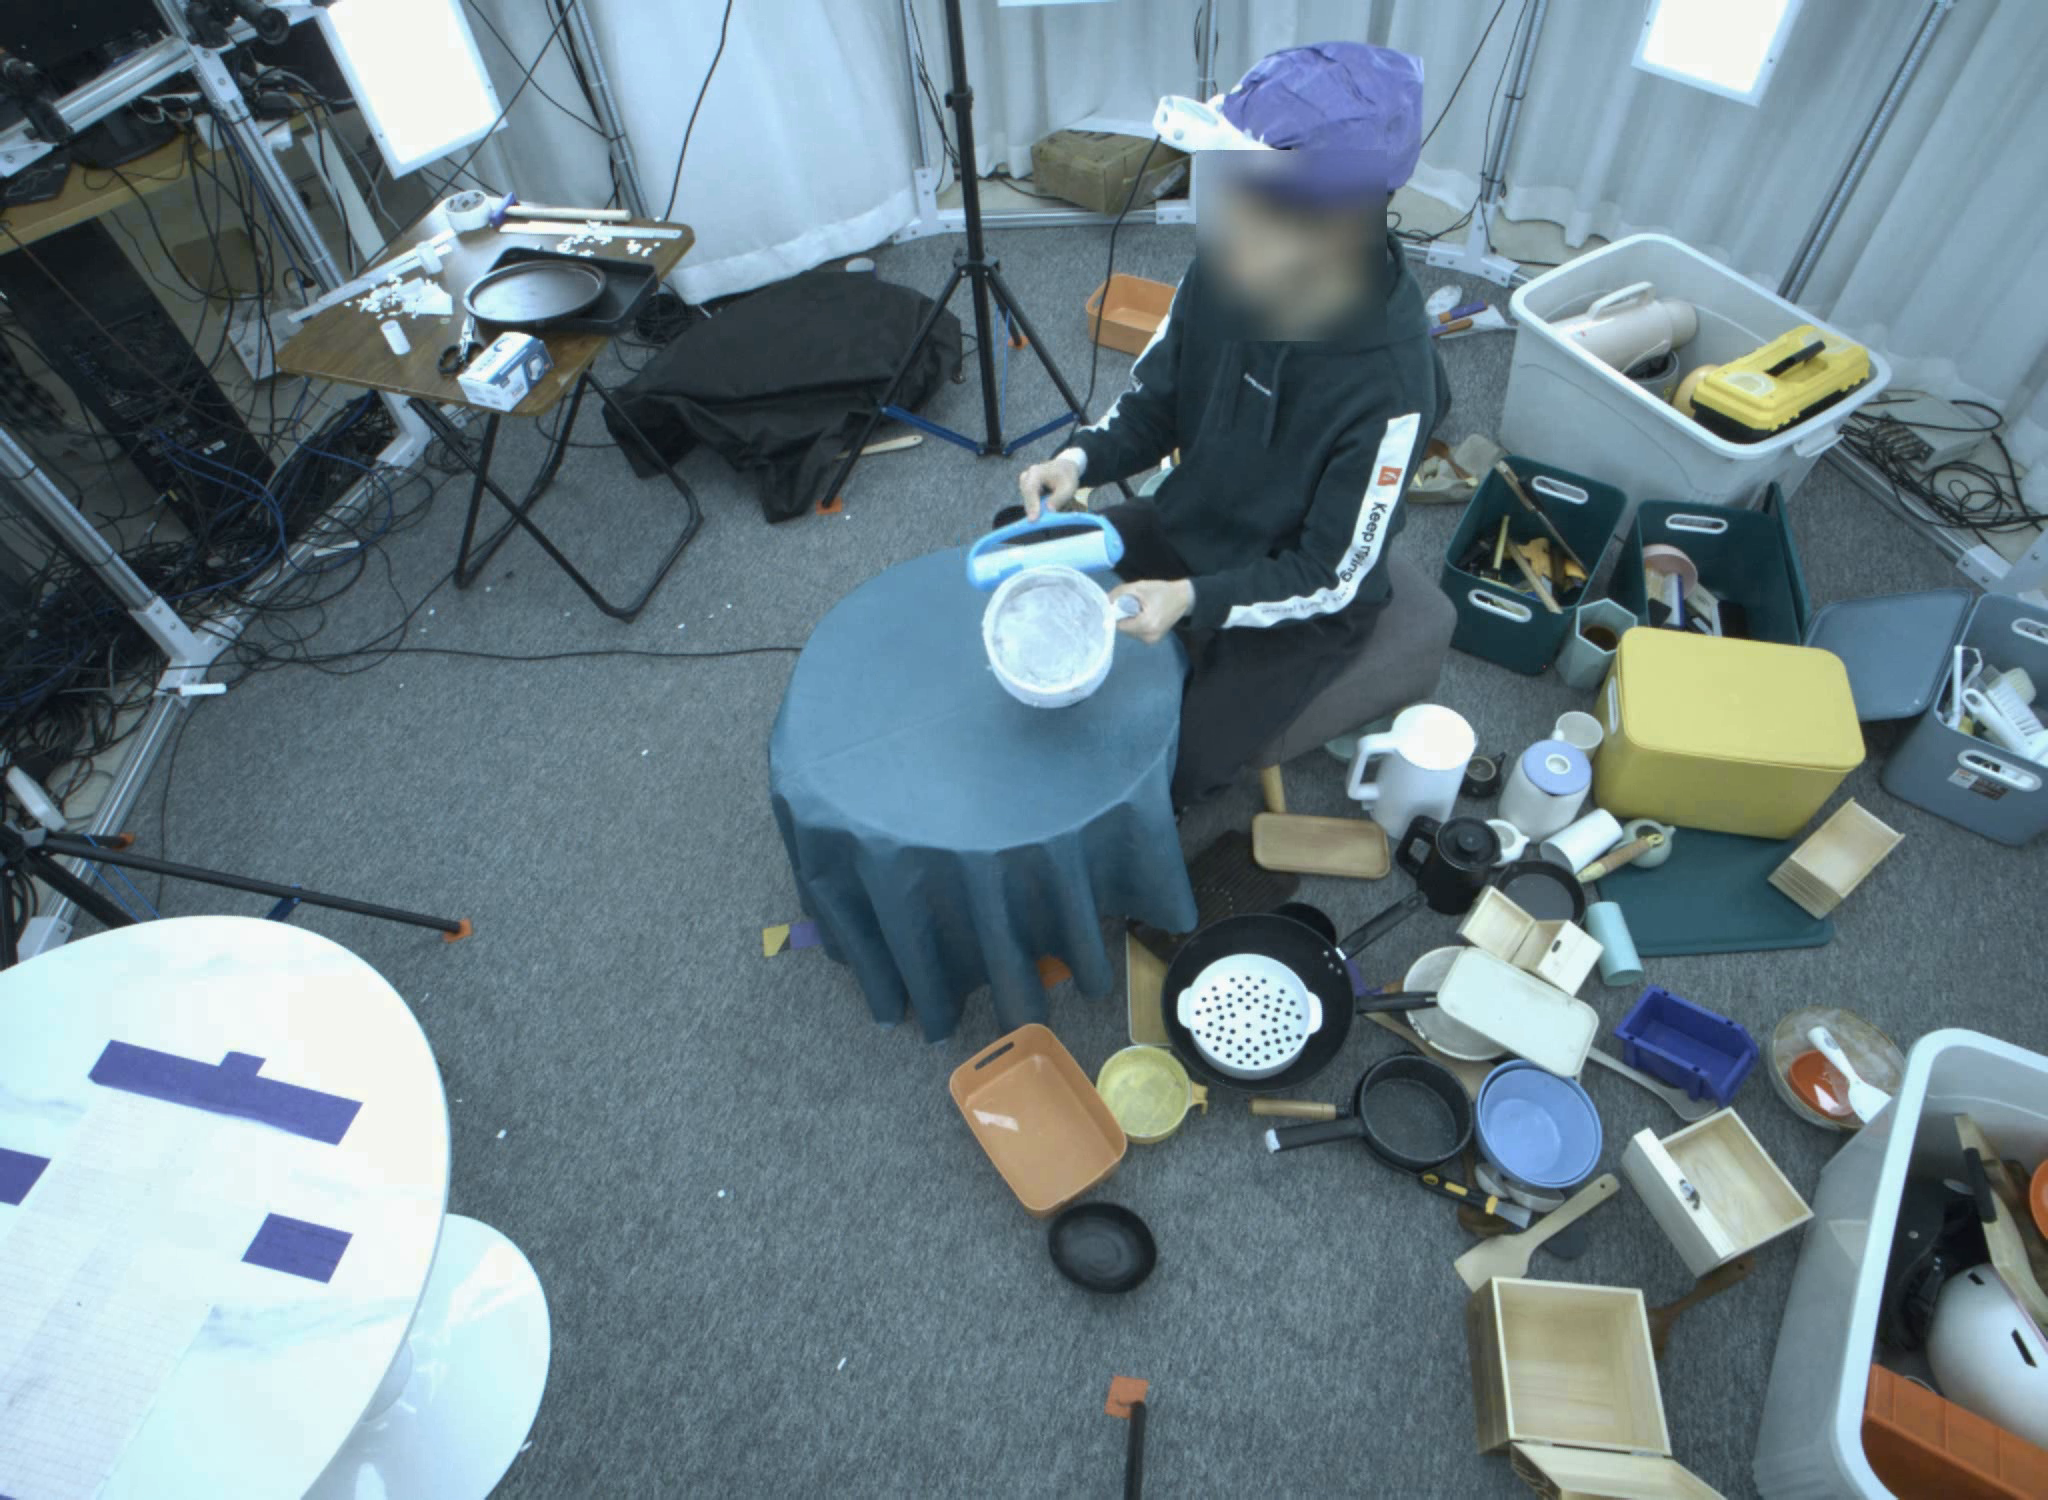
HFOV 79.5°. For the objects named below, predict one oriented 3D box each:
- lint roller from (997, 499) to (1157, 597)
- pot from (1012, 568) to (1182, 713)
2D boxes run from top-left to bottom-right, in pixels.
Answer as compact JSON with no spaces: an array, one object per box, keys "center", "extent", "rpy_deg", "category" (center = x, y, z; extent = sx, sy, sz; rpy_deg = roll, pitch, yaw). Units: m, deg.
[{"center":[0.073,-0.304,1.726],"extent":[0.226,0.069,0.178],"rpy_deg":[-11,54,17],"category":"lint roller"},{"center":[0.104,-0.155,1.686],"extent":[0.234,0.137,0.178],"rpy_deg":[-19,82,0],"category":"pot"}]
